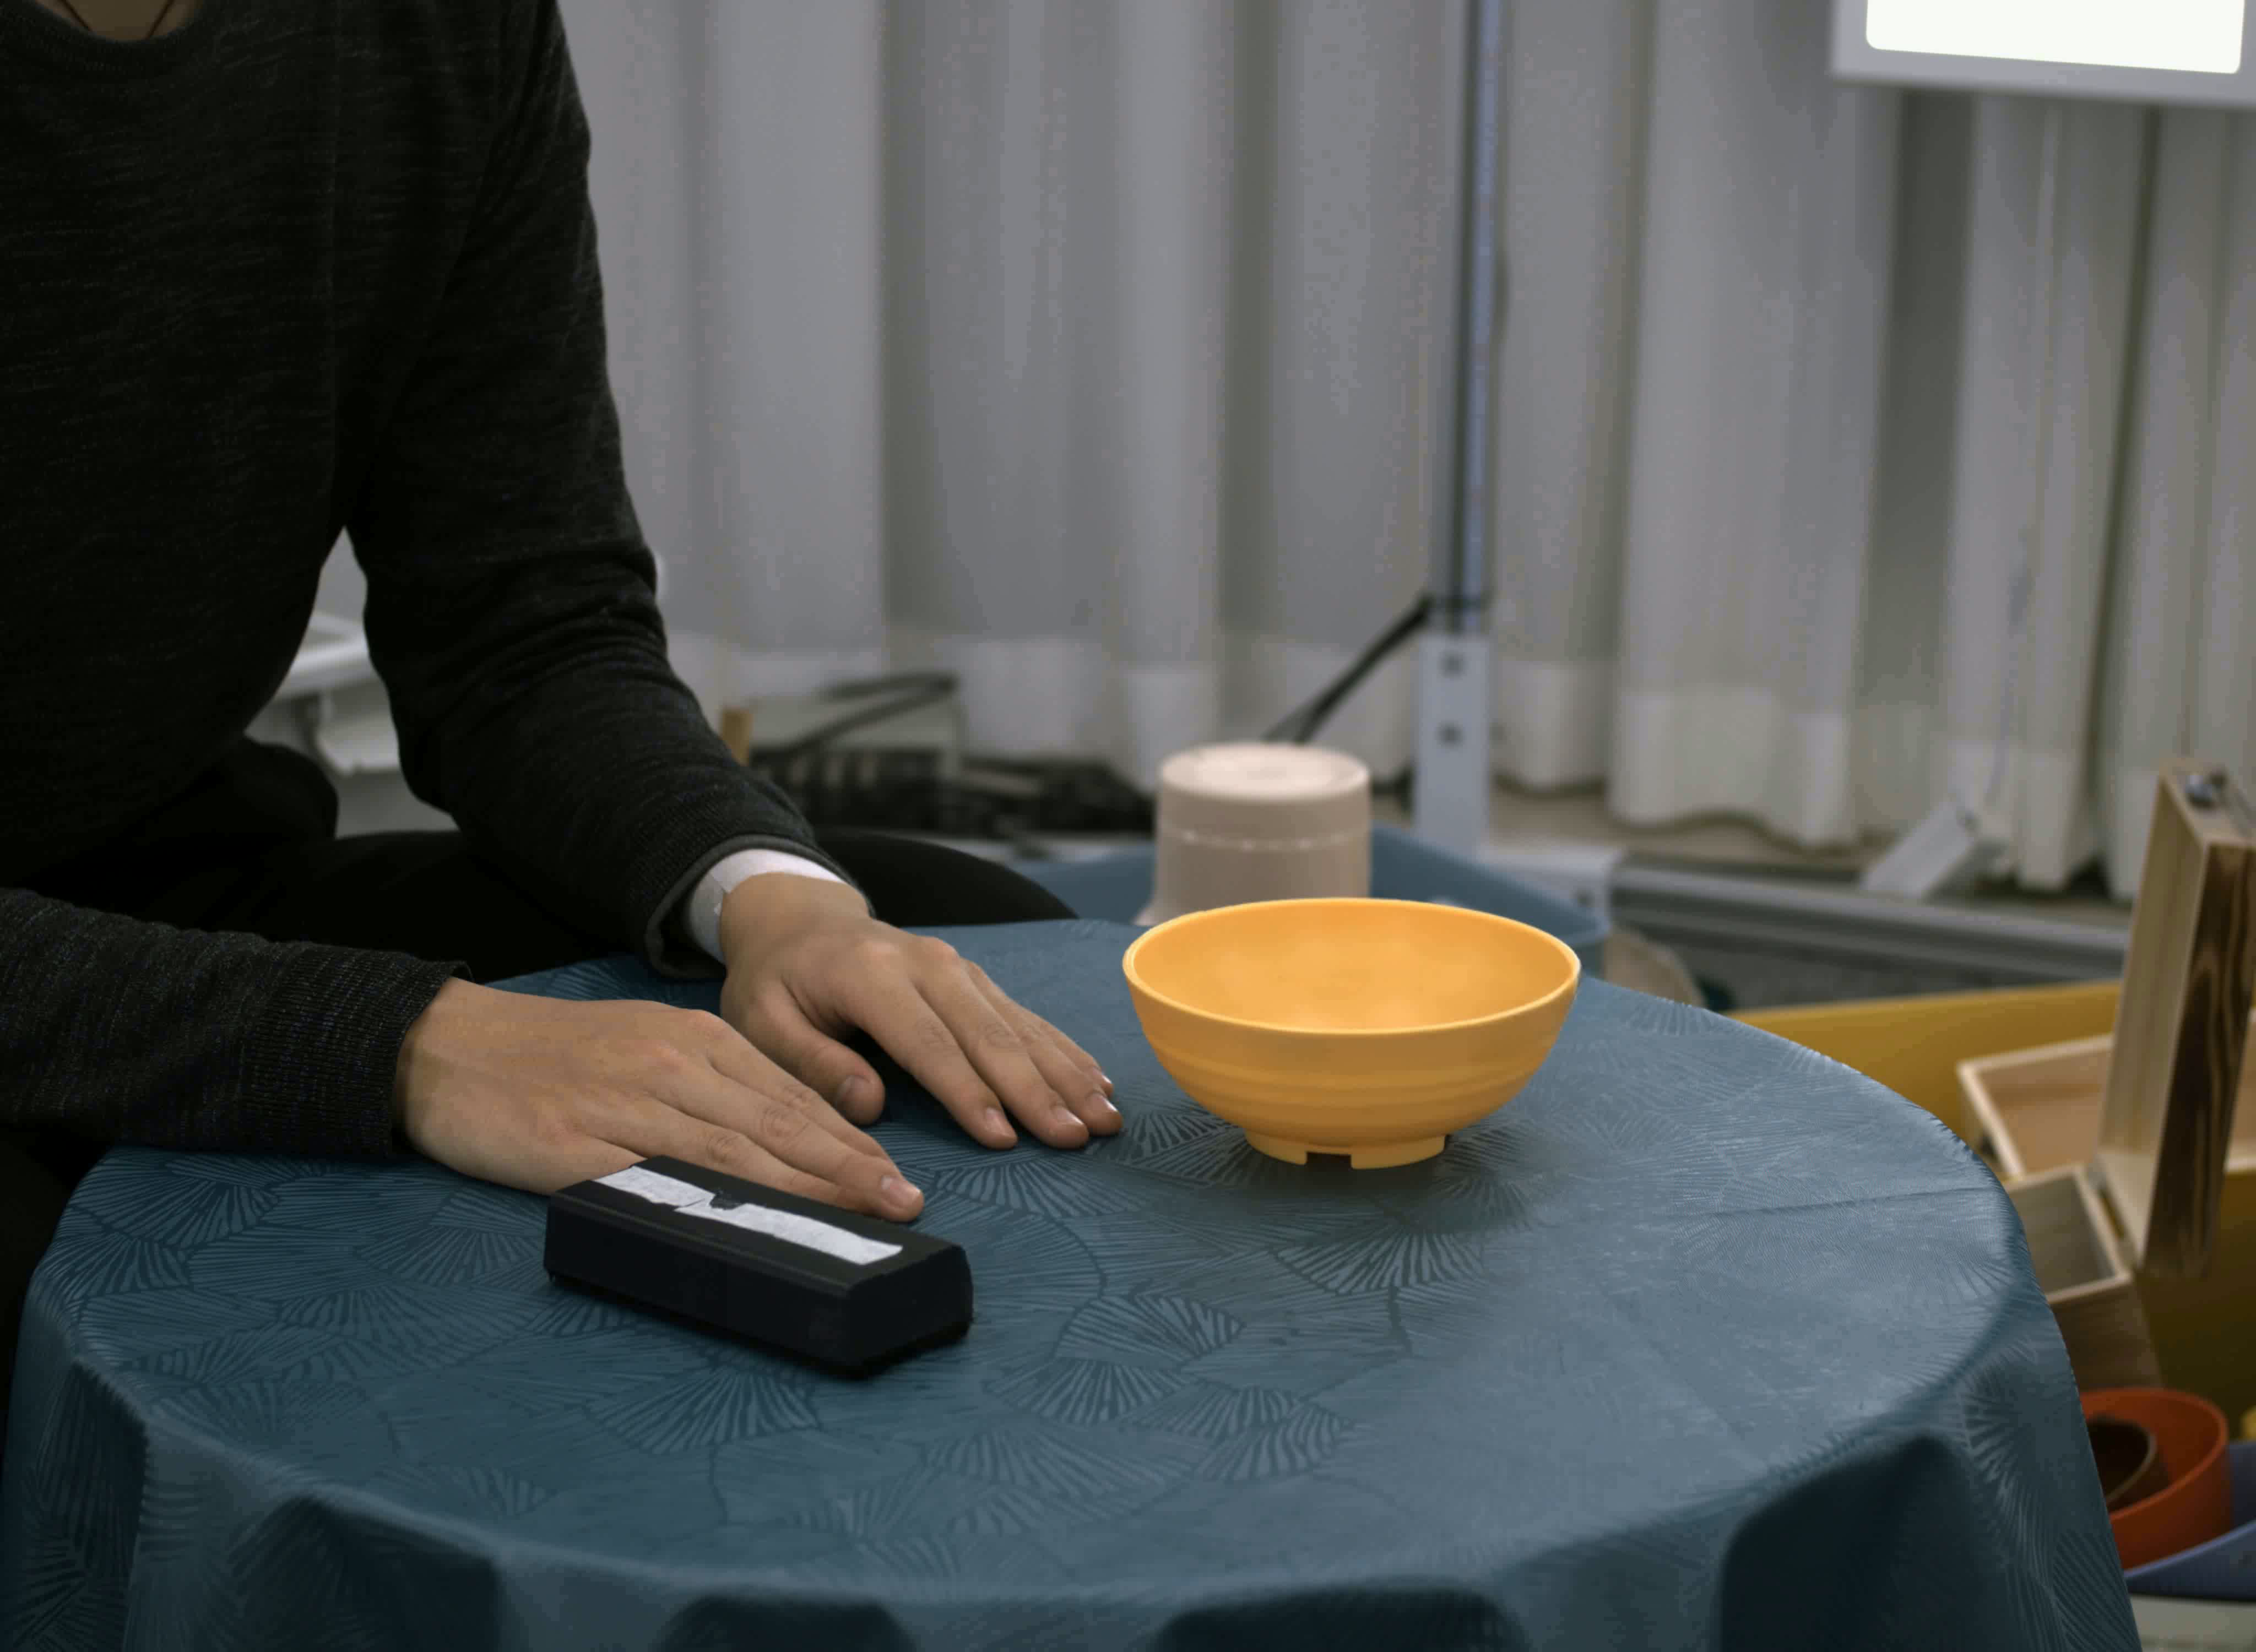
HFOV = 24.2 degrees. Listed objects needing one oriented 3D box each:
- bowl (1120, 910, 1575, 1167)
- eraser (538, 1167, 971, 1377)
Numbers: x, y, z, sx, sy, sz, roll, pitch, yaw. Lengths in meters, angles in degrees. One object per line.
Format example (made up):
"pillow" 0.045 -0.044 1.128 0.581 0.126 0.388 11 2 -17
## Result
"bowl" 0.068 0.071 1.662 0.145 0.060 0.144 1 13 0
"eraser" -0.108 0.127 1.512 0.124 0.030 0.054 12 16 37
